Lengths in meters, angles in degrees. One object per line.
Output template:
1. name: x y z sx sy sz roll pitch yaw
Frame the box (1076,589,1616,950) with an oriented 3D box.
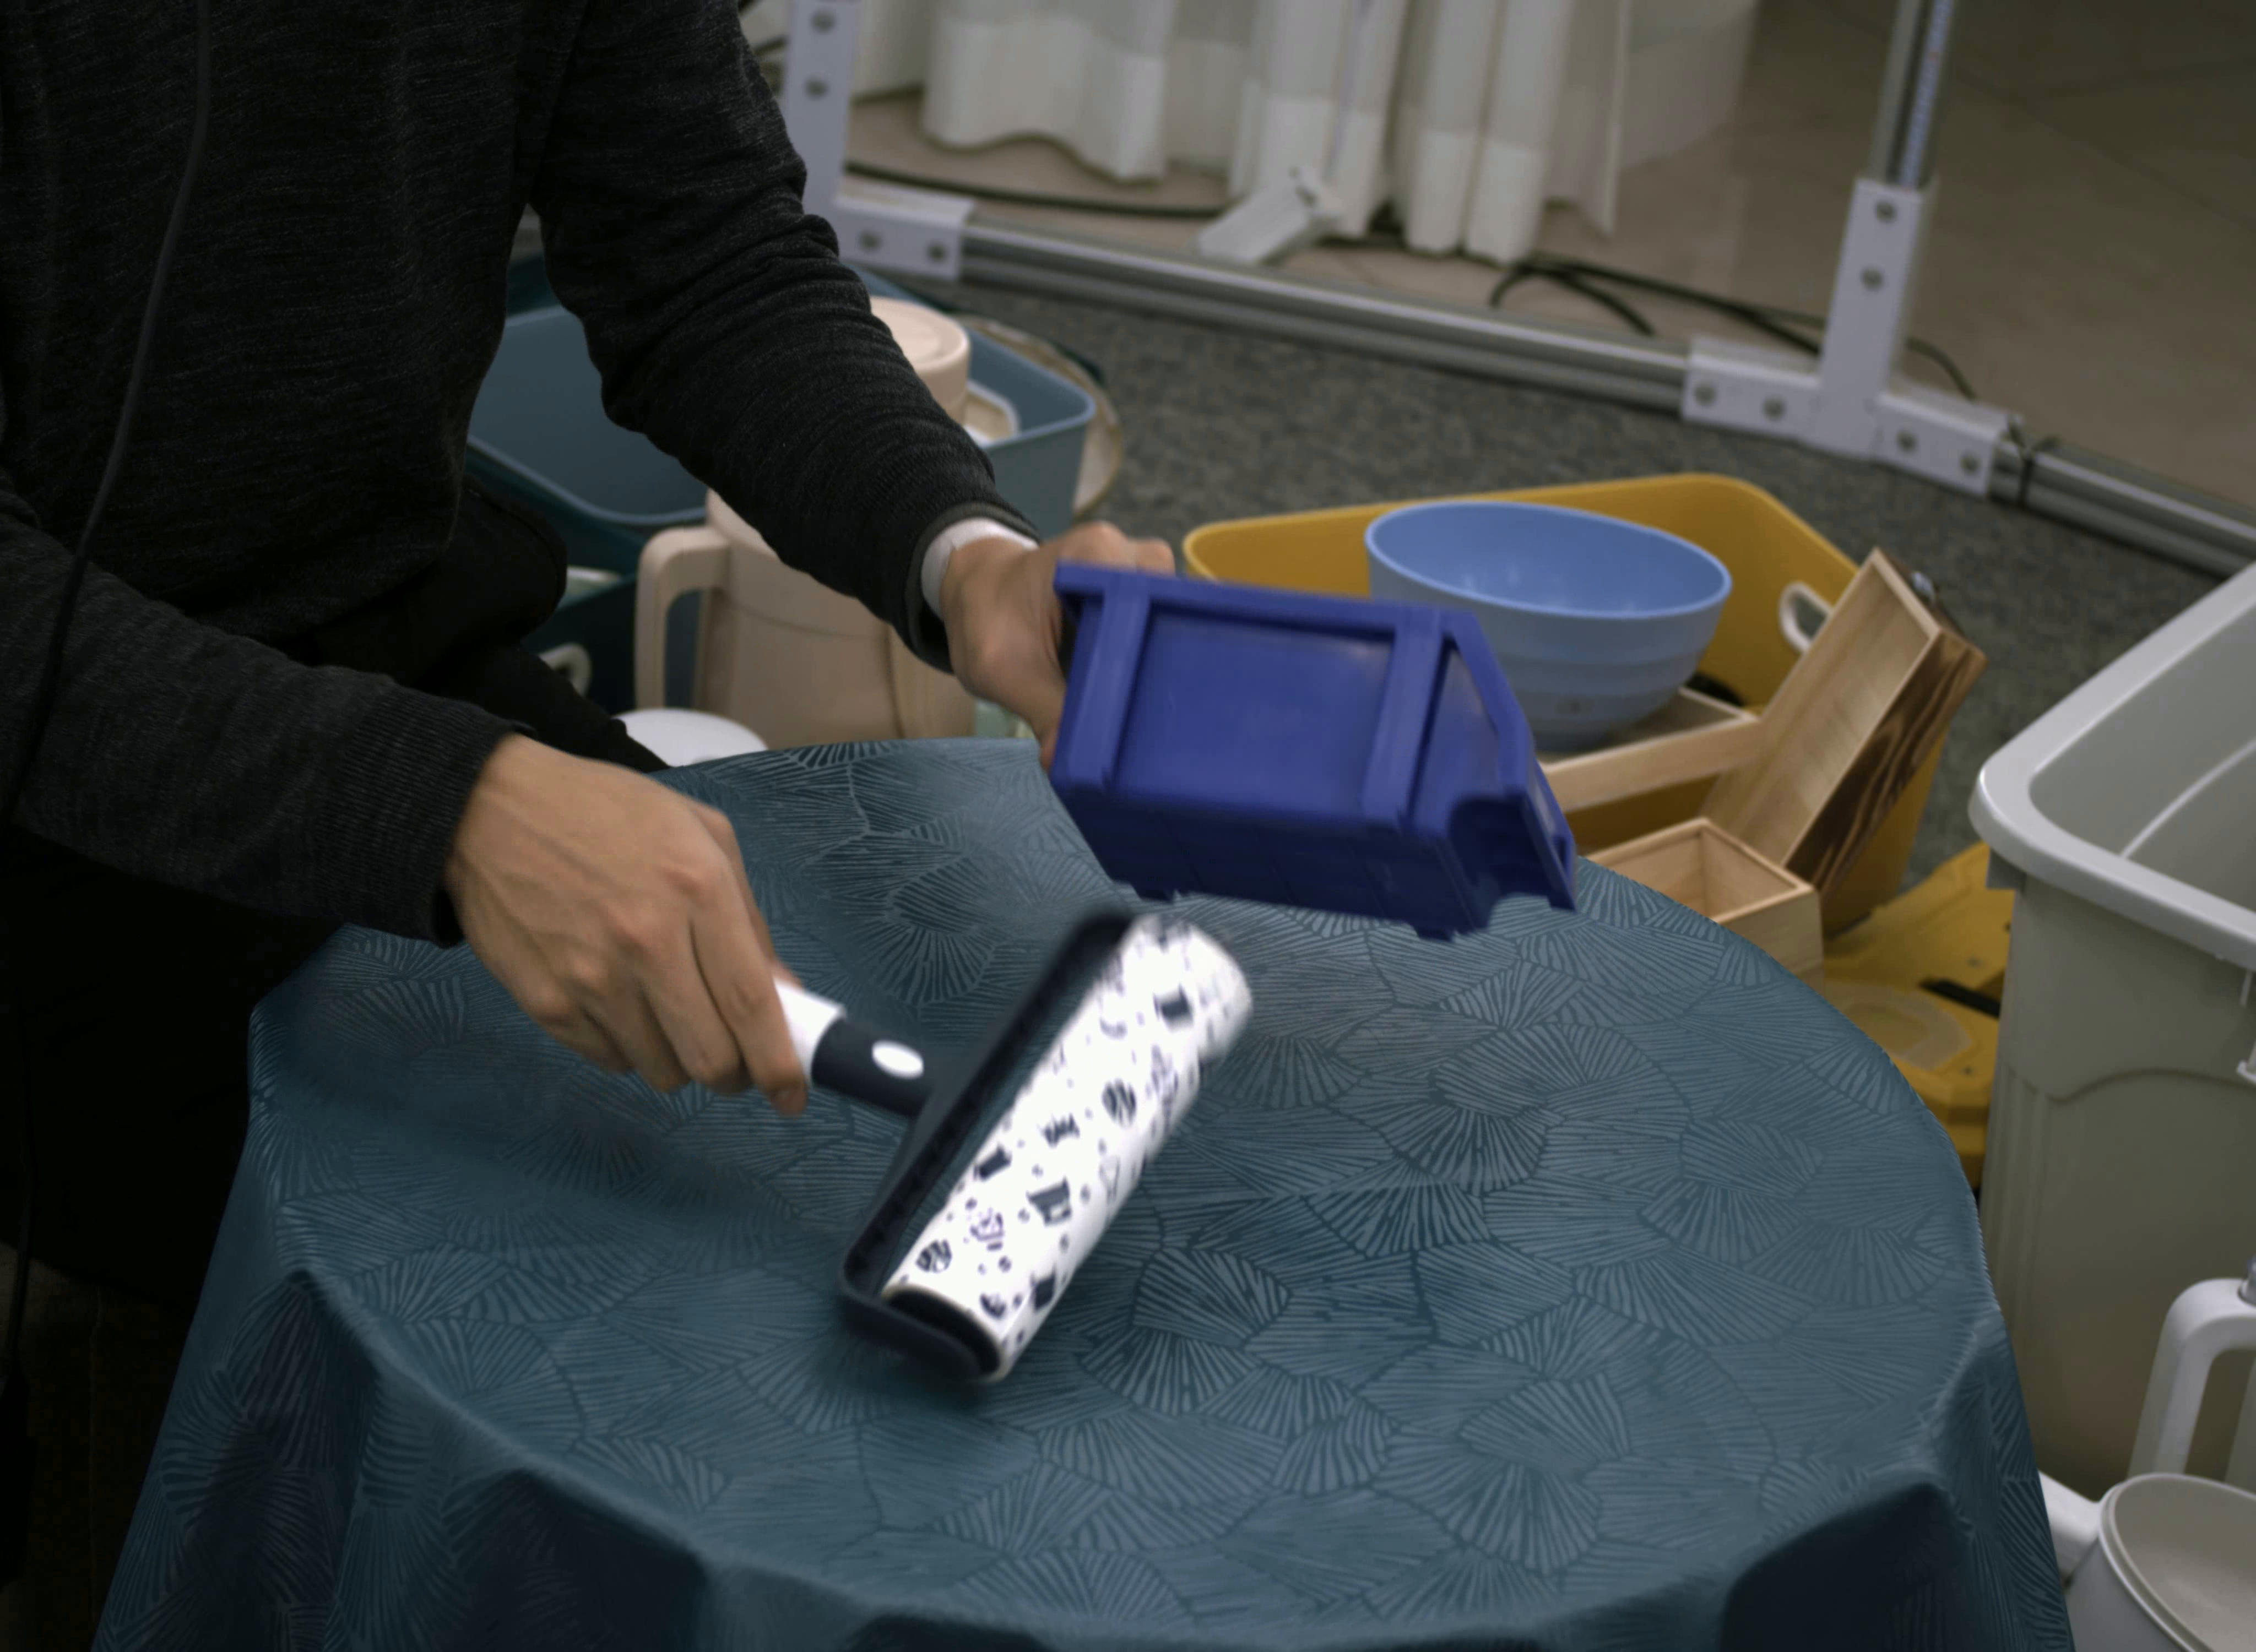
1. box: 0.076 -0.017 1.854 0.179 0.082 0.123 5 -19 17

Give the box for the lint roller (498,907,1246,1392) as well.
1. lint roller: -0.106 0.075 1.750 0.248 0.050 0.176 22 54 23
